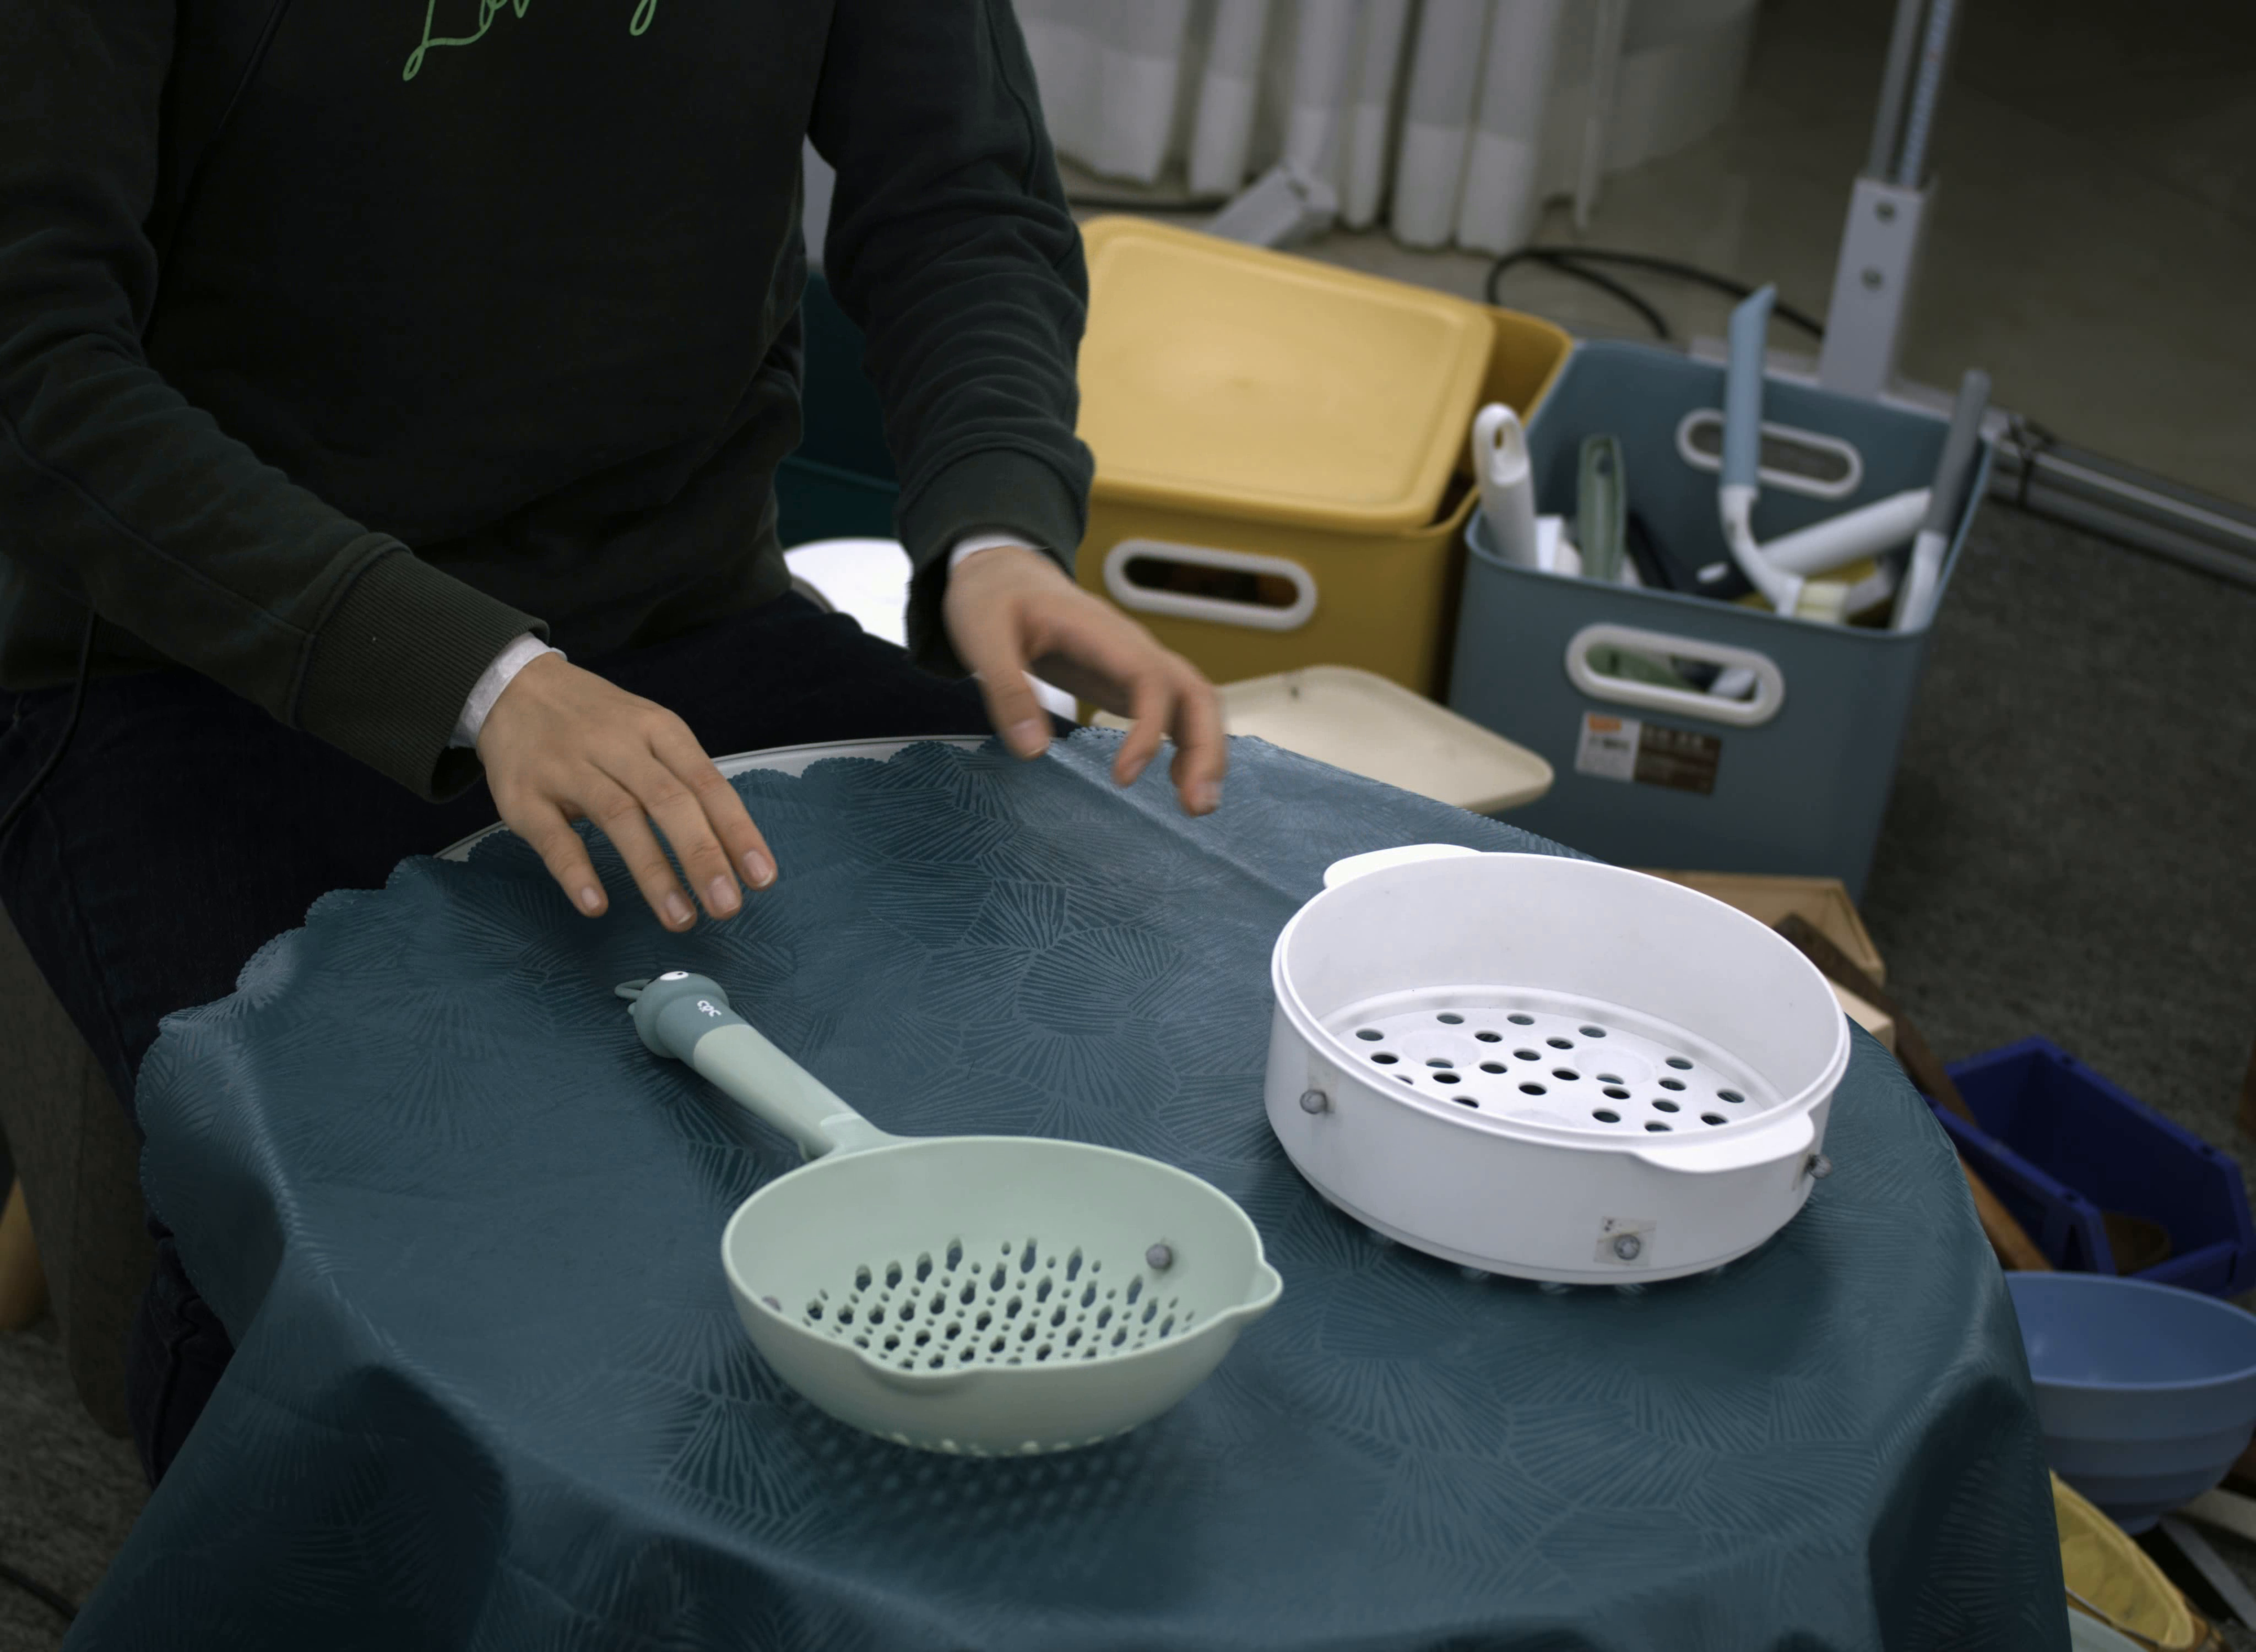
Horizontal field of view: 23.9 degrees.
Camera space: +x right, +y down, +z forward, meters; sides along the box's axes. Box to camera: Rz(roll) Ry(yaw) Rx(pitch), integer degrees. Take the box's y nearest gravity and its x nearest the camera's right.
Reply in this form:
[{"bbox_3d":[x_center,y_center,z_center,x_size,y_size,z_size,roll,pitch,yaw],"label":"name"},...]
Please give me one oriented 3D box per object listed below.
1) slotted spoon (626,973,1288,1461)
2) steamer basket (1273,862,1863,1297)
[{"bbox_3d":[-0.088,0.111,1.733,0.168,0.075,0.362,-9,30,-27],"label":"slotted spoon"},{"bbox_3d":[0.148,0.089,1.833,0.200,0.069,0.232,-9,30,-30],"label":"steamer basket"}]
